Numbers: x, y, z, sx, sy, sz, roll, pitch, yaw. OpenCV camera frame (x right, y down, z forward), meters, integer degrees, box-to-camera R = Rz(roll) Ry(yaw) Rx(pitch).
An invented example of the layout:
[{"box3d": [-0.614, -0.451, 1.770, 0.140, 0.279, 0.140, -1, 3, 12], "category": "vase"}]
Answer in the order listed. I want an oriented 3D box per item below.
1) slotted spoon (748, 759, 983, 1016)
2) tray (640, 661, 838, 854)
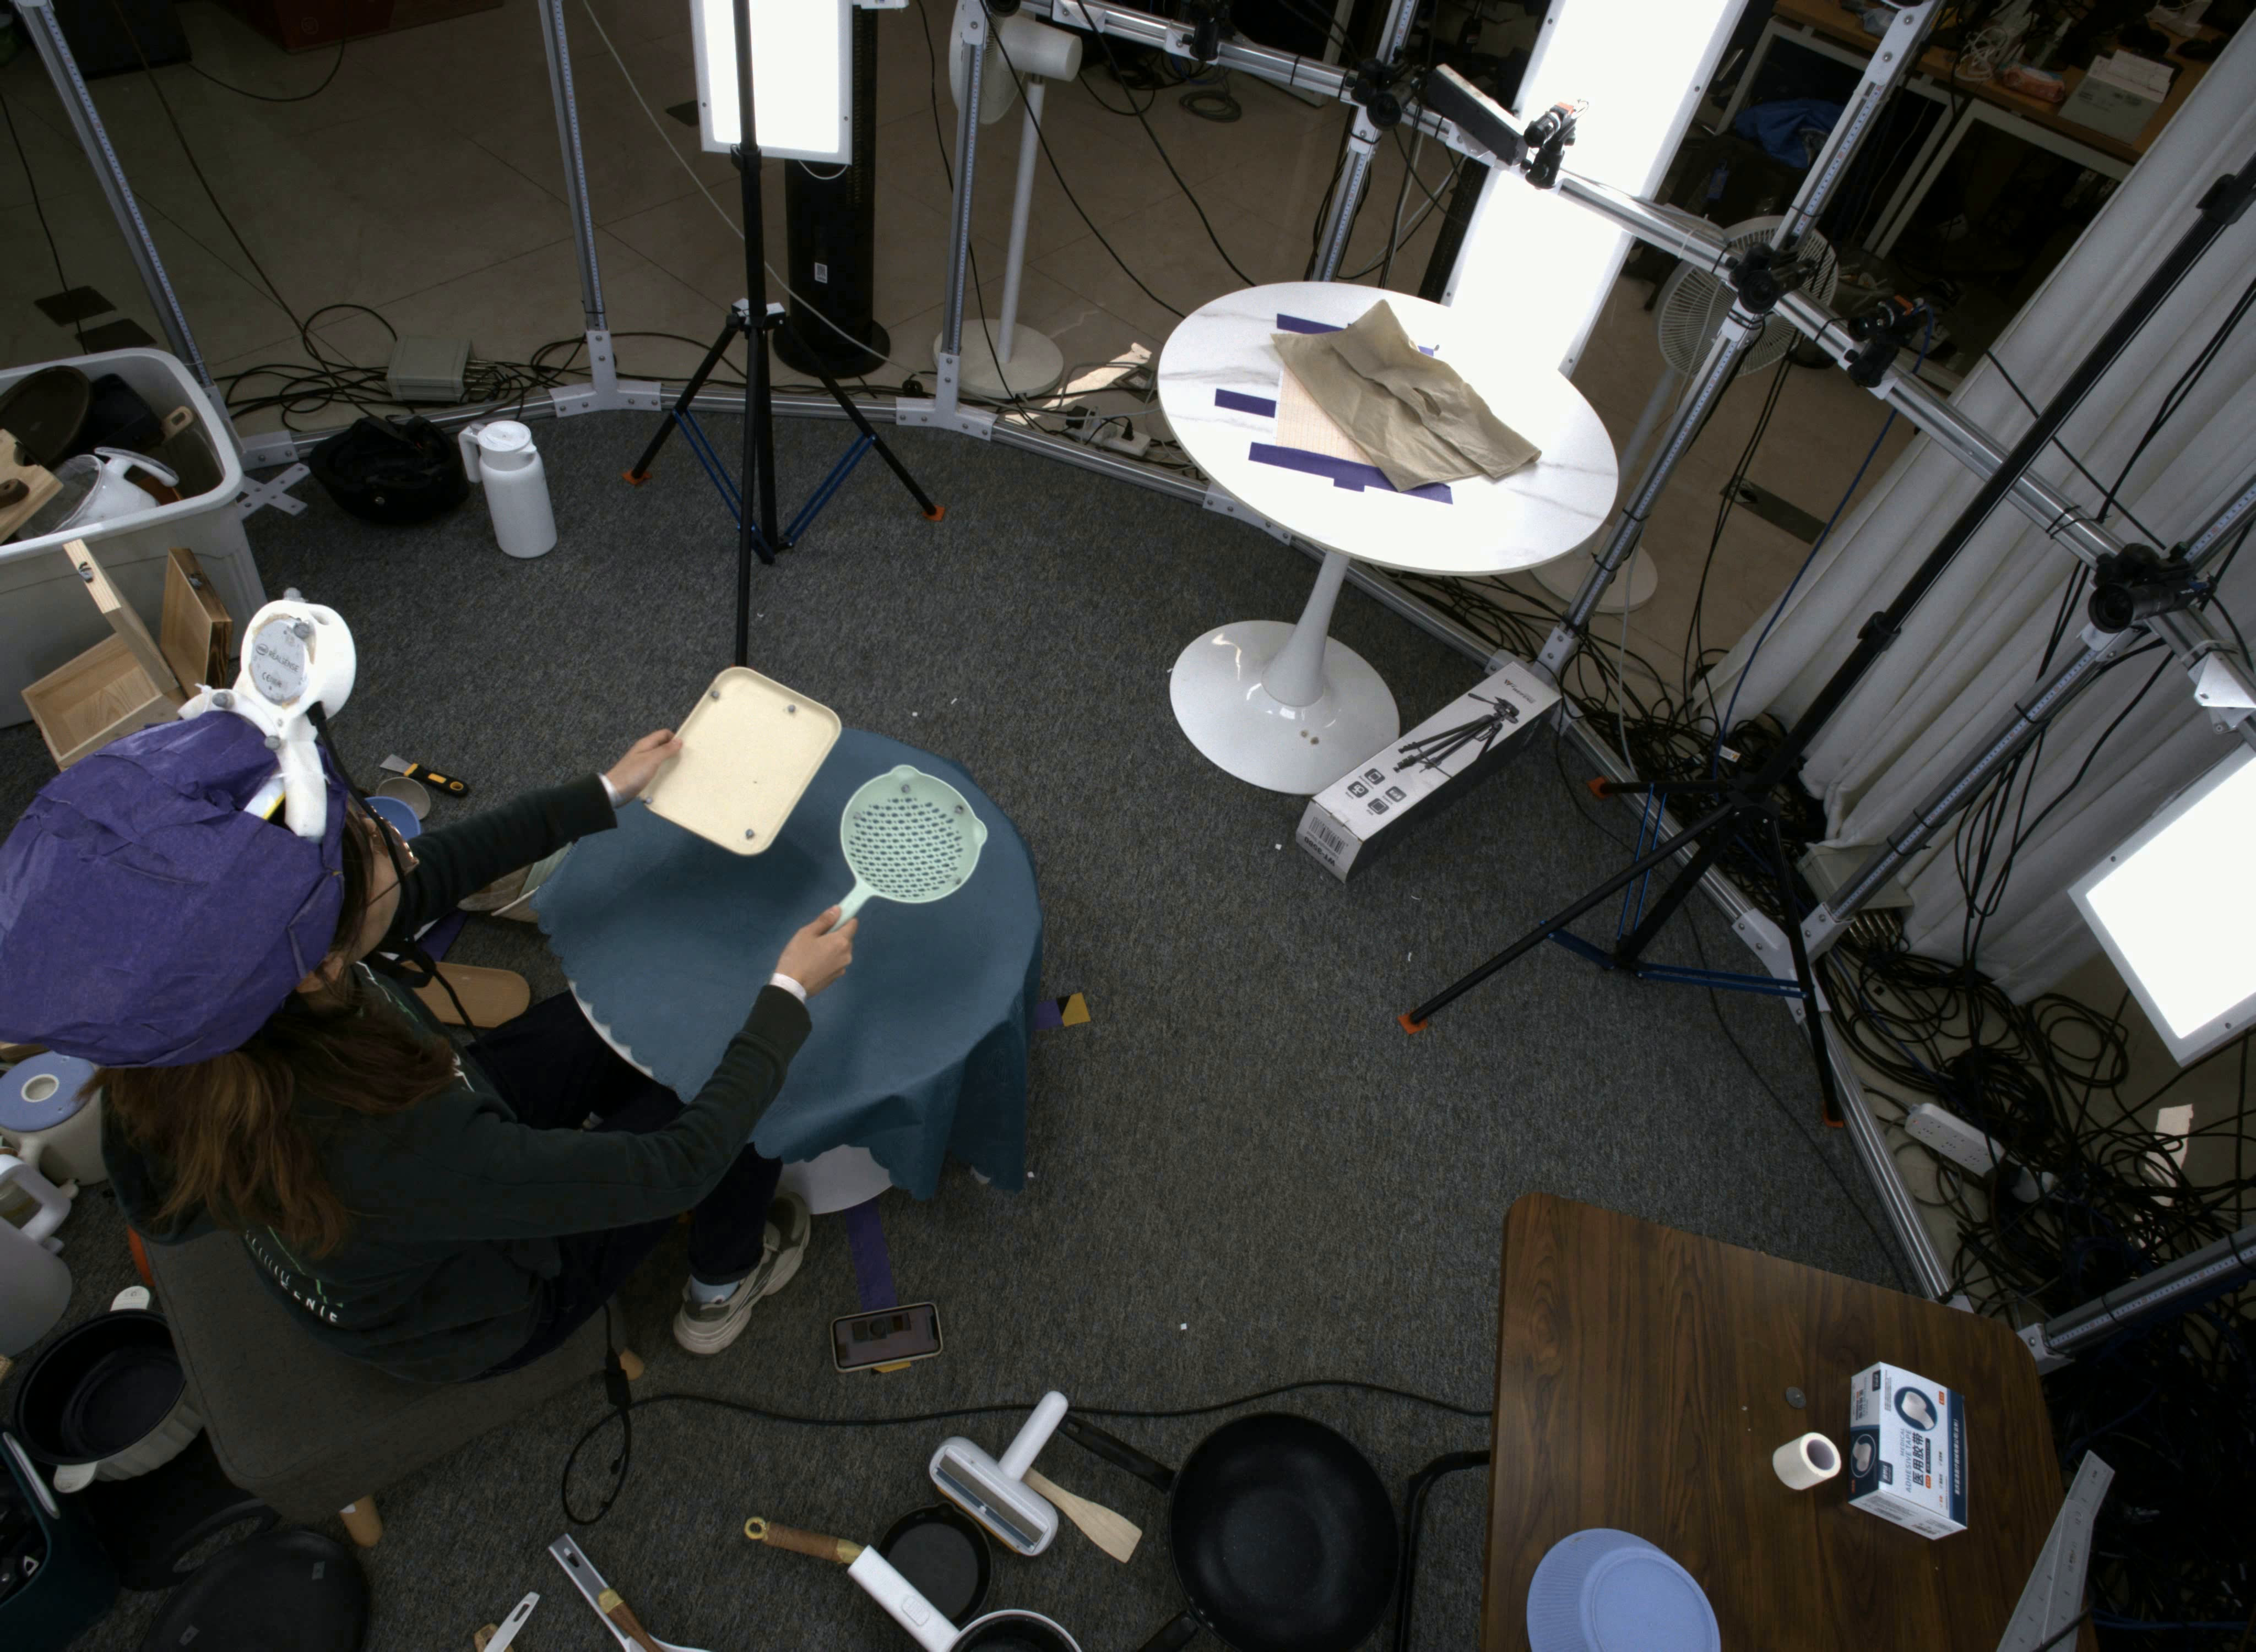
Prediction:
[{"box3d": [-0.318, 0.077, 1.513, 0.170, 0.075, 0.357, 40, 52, -3], "category": "slotted spoon"}, {"box3d": [-0.473, -0.086, 1.579, 0.171, 0.017, 0.238, 27, 58, -6], "category": "tray"}]
